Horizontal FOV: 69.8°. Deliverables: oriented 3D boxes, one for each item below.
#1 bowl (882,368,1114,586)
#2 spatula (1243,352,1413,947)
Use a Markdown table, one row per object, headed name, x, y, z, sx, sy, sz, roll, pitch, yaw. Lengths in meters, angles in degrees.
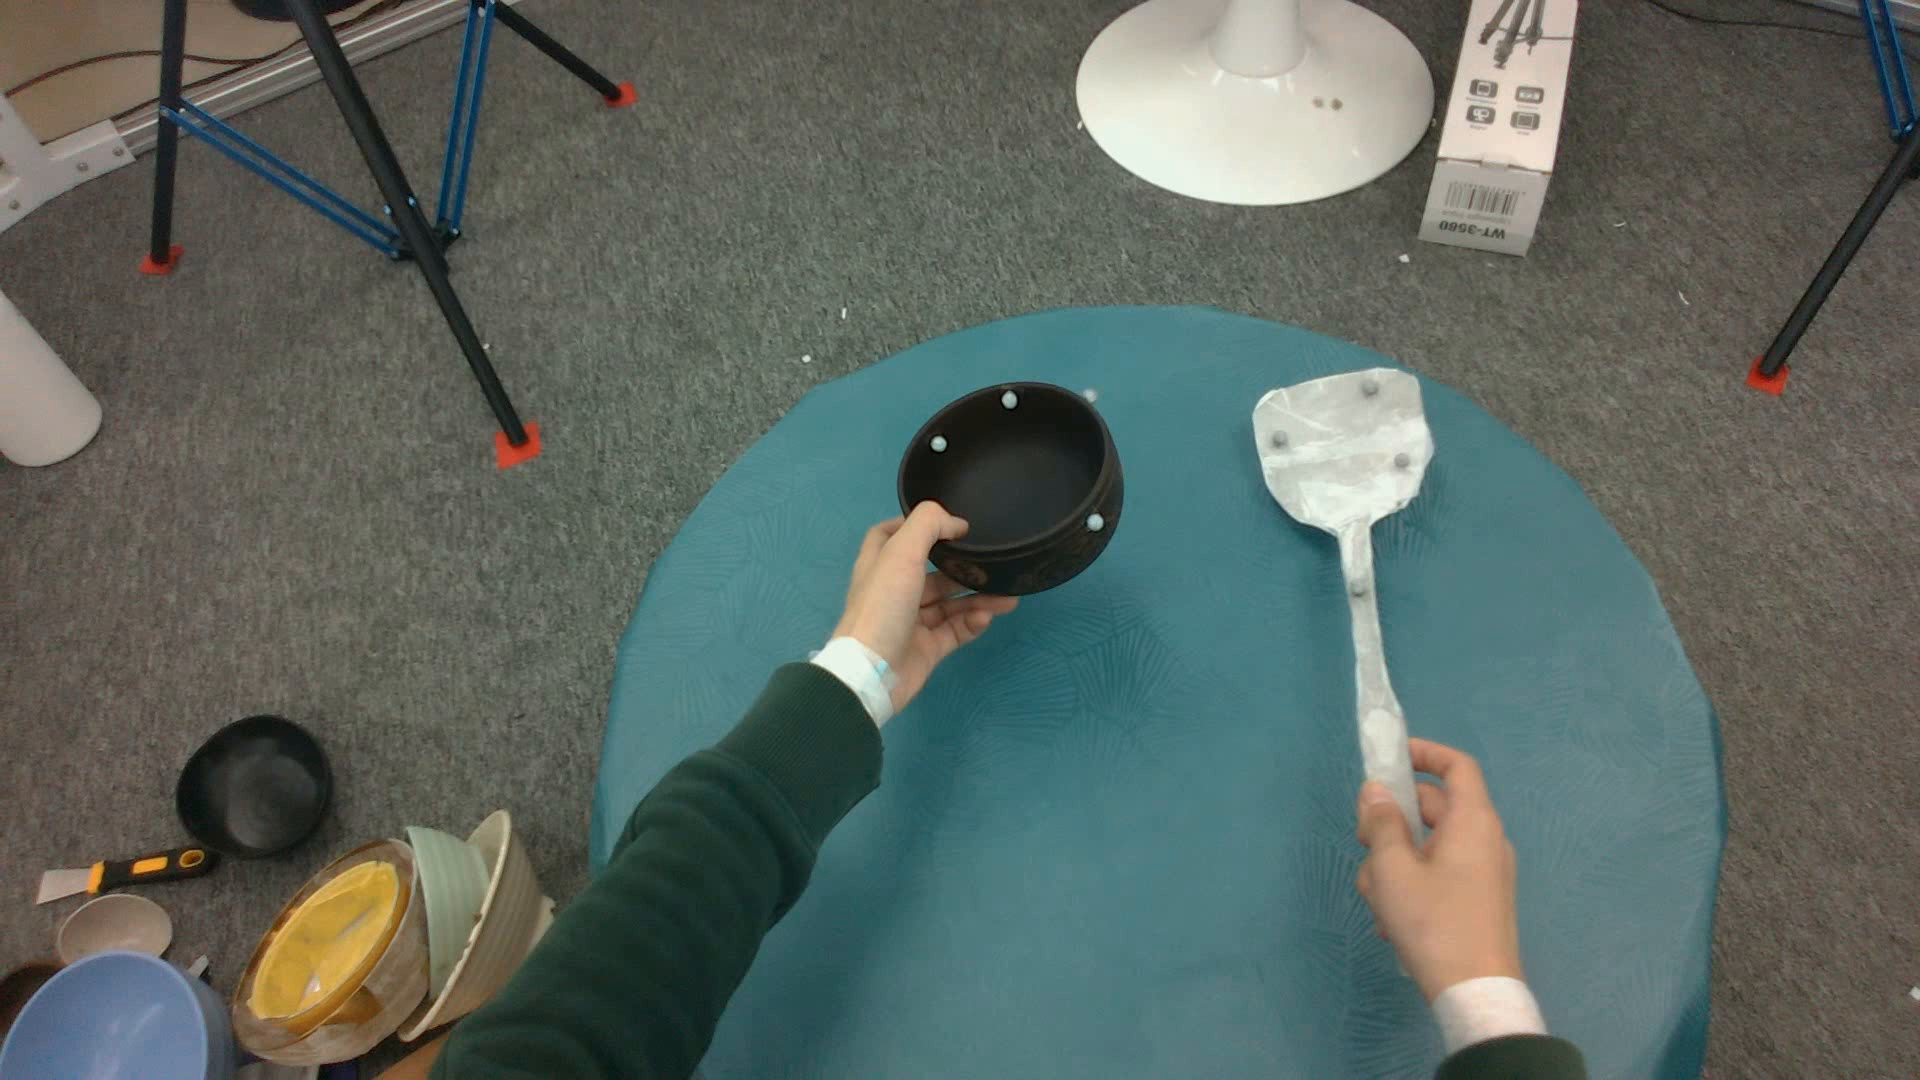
| name | x | y | z | sx | sy | sz | roll | pitch | yaw |
| --- | --- | --- | --- | --- | --- | --- | --- | --- | --- |
| bowl | 0.024 | -0.025 | 0.720 | 0.118 | 0.069 | 0.118 | -11 | 50 | 13 |
| spatula | 0.204 | 0.035 | 0.722 | 0.098 | 0.044 | 0.367 | -8 | 44 | 18 |
